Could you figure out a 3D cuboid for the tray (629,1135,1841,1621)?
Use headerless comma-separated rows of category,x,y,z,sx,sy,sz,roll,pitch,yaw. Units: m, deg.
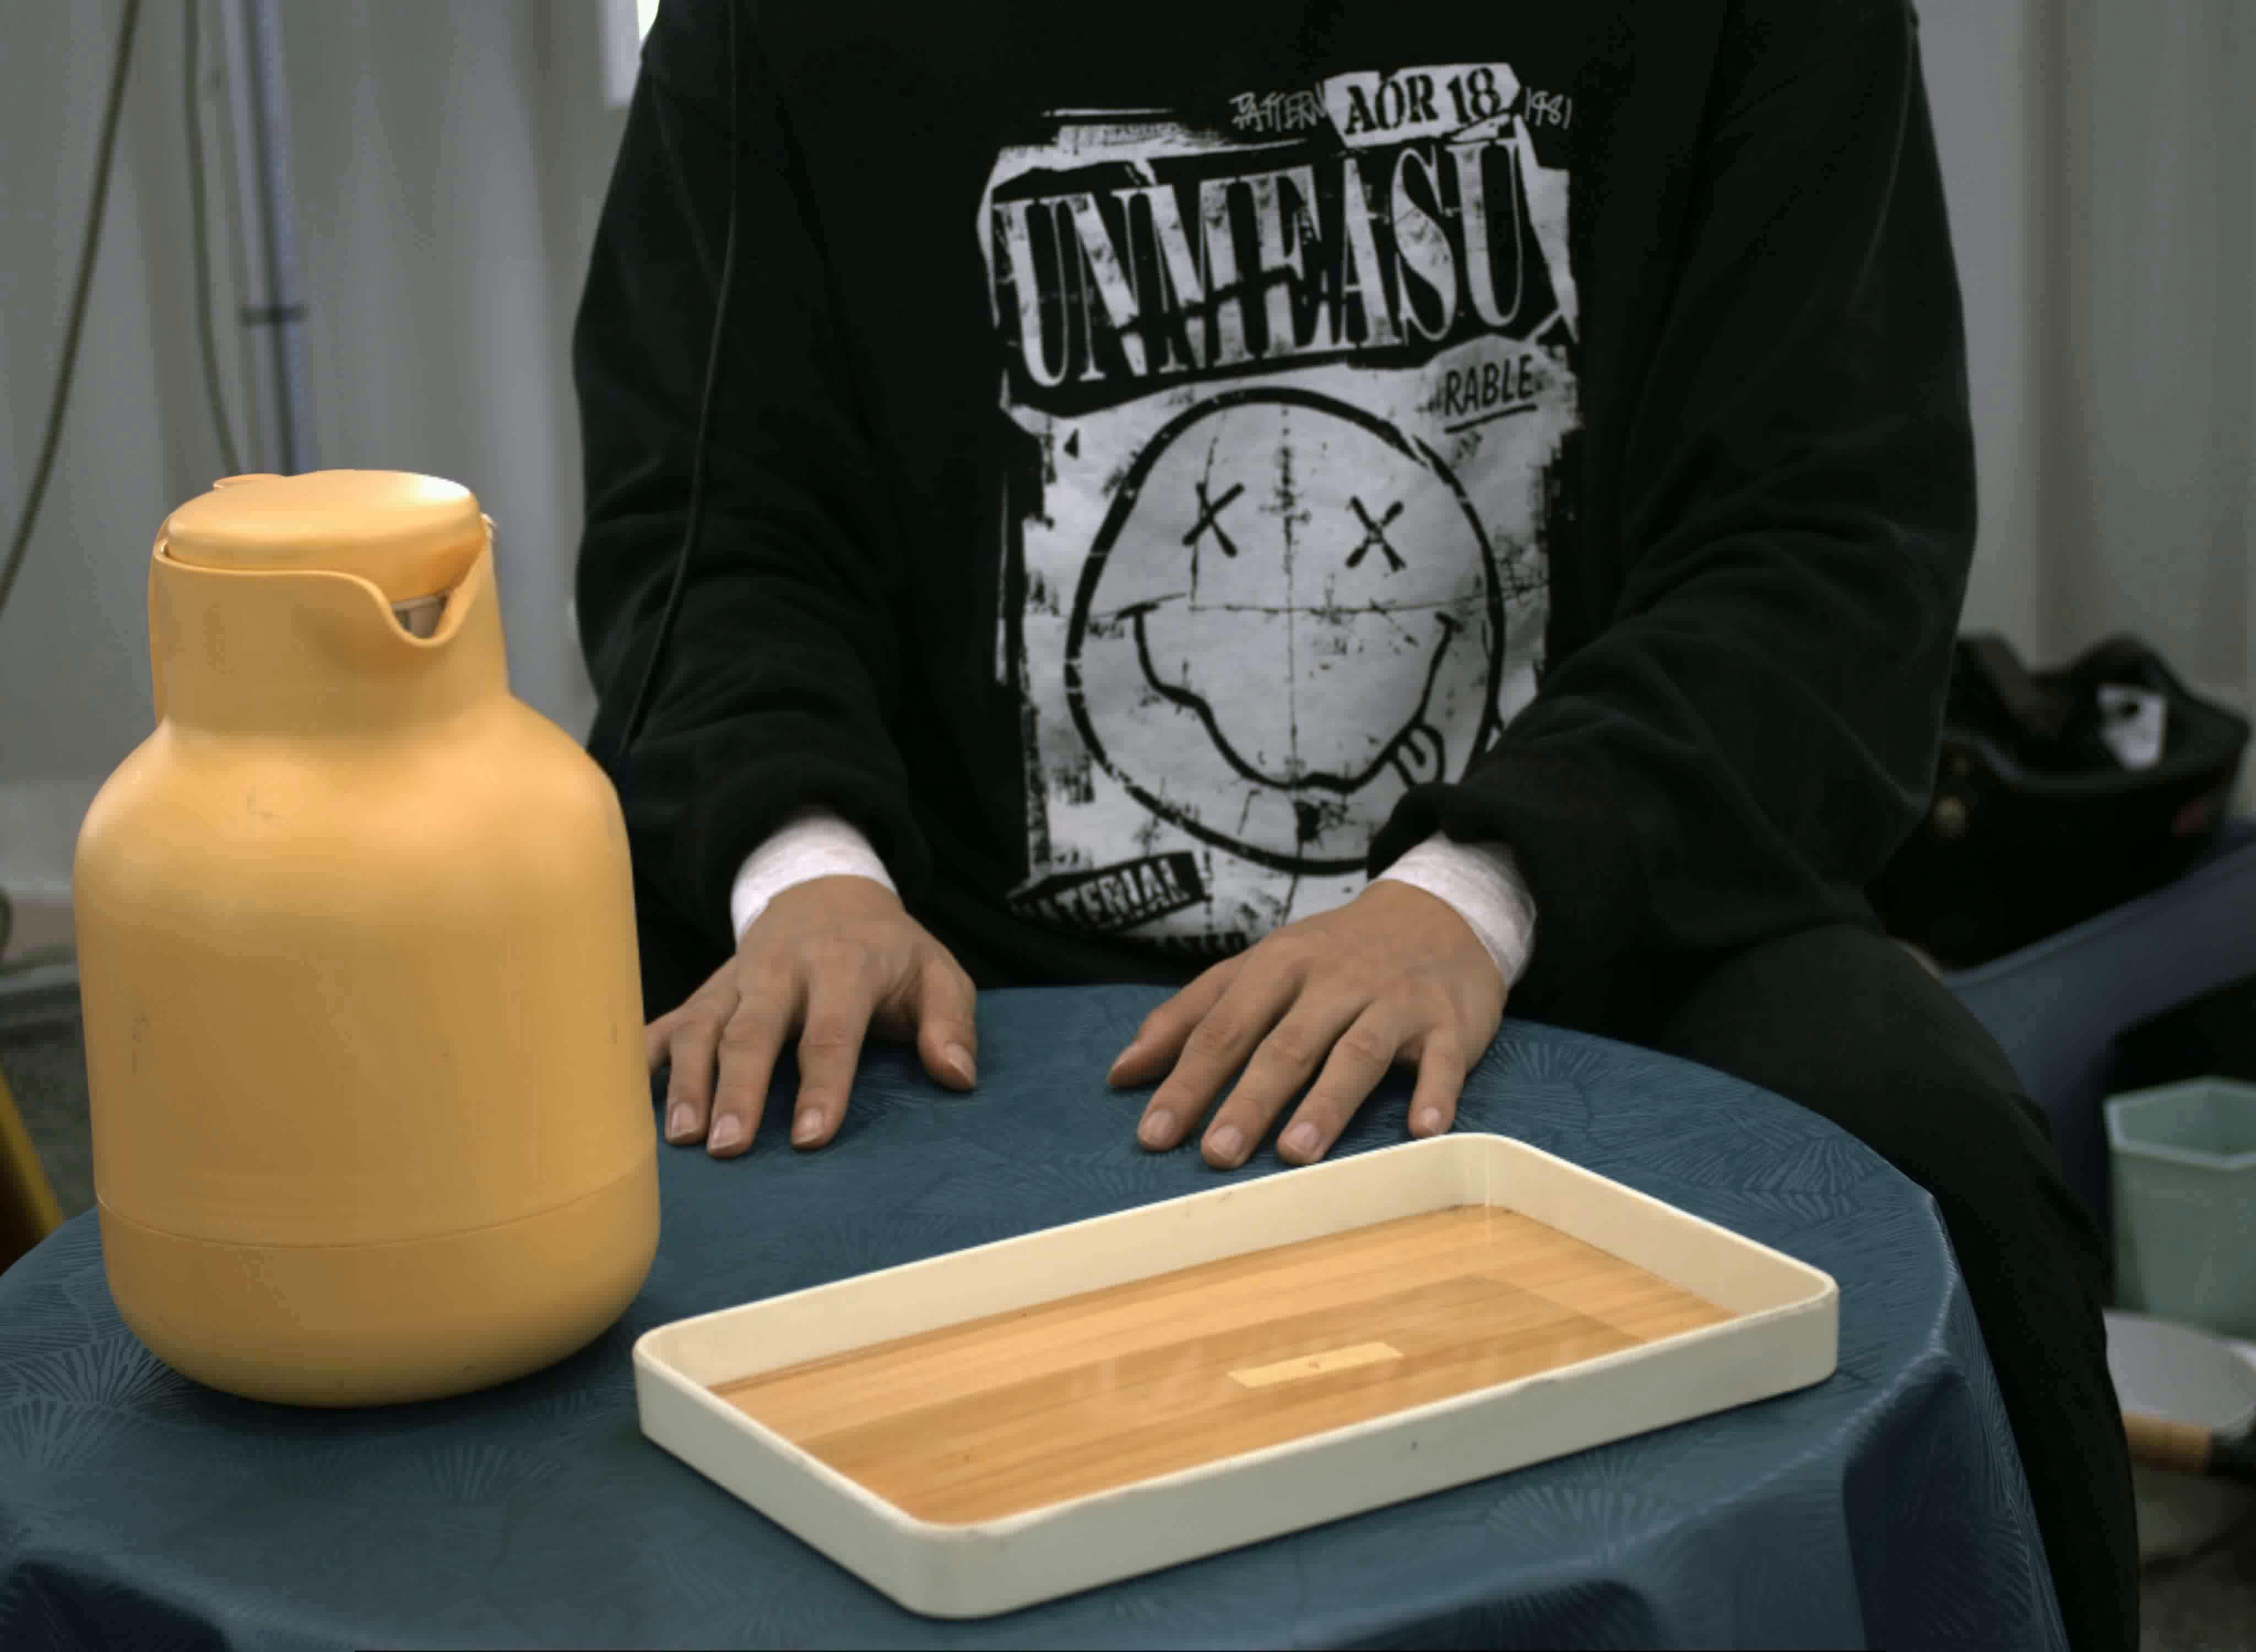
tray,0.030,0.149,1.528,0.299,0.027,0.193,-11,17,-29

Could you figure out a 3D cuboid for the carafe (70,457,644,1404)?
carafe,-0.232,0.022,1.601,0.162,0.259,0.204,-7,16,-27
